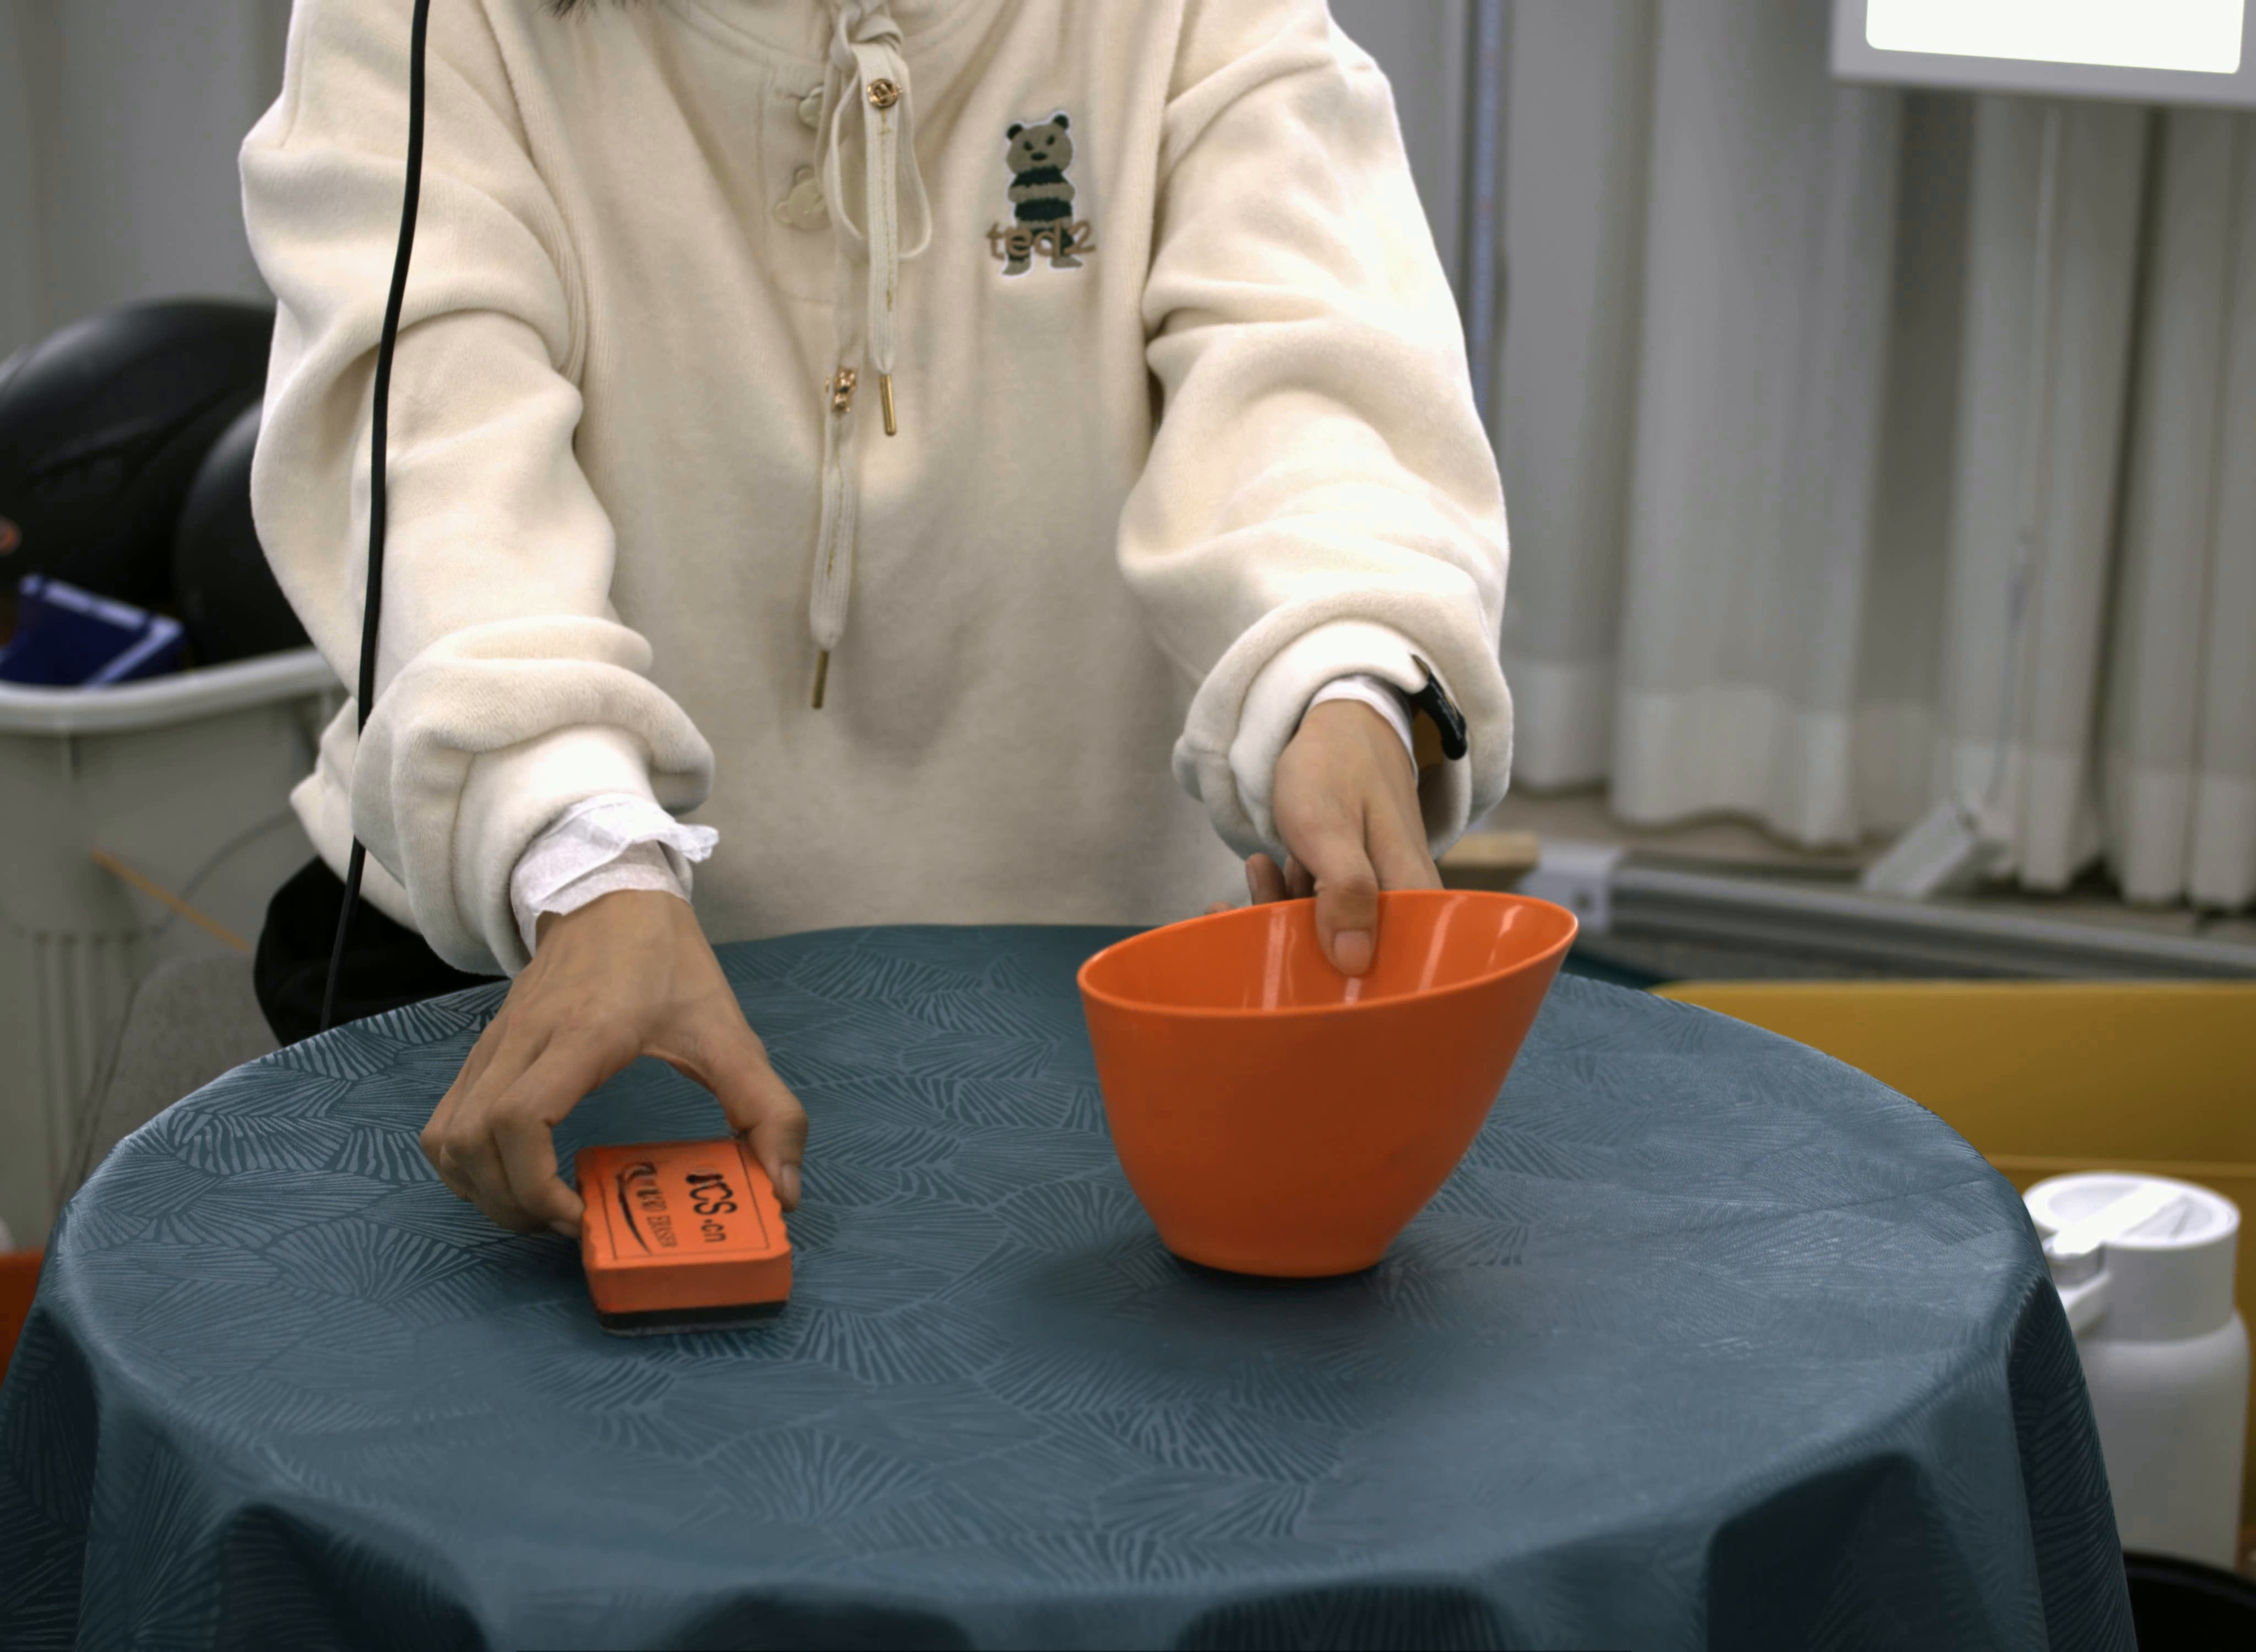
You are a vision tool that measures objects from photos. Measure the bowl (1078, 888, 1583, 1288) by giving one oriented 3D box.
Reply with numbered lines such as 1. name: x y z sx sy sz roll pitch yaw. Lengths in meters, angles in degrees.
1. bowl: 0.058 0.078 1.553 0.147 0.105 0.147 2 13 0

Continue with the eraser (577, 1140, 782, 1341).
1. eraser: -0.132 0.120 1.544 0.059 0.023 0.107 -4 16 -6
